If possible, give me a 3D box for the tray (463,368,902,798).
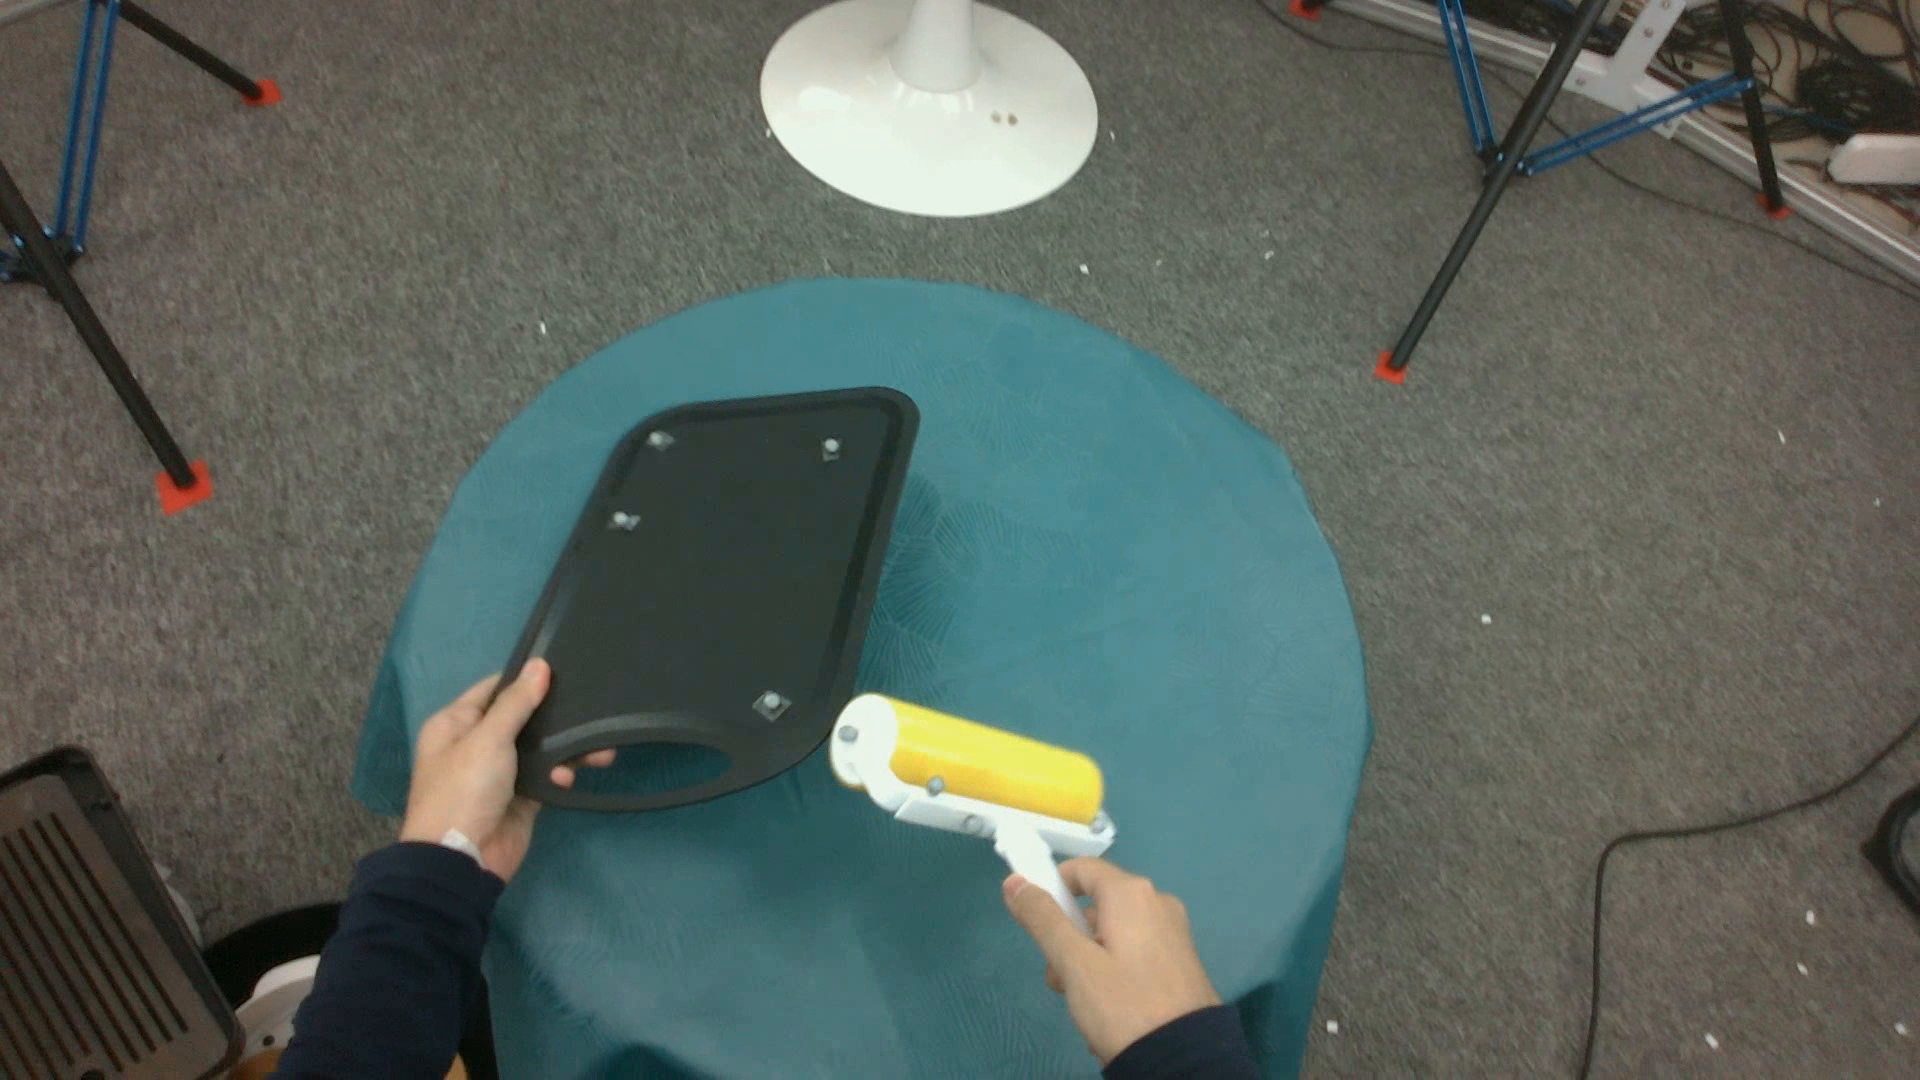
[{"bbox_3d":[-0.151,0.008,0.789,0.211,0.010,0.327,-2,46,12],"label":"tray"}]

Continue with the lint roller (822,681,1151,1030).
[{"bbox_3d":[0.040,0.149,0.669,0.174,0.051,0.192,21,16,-44],"label":"lint roller"}]
